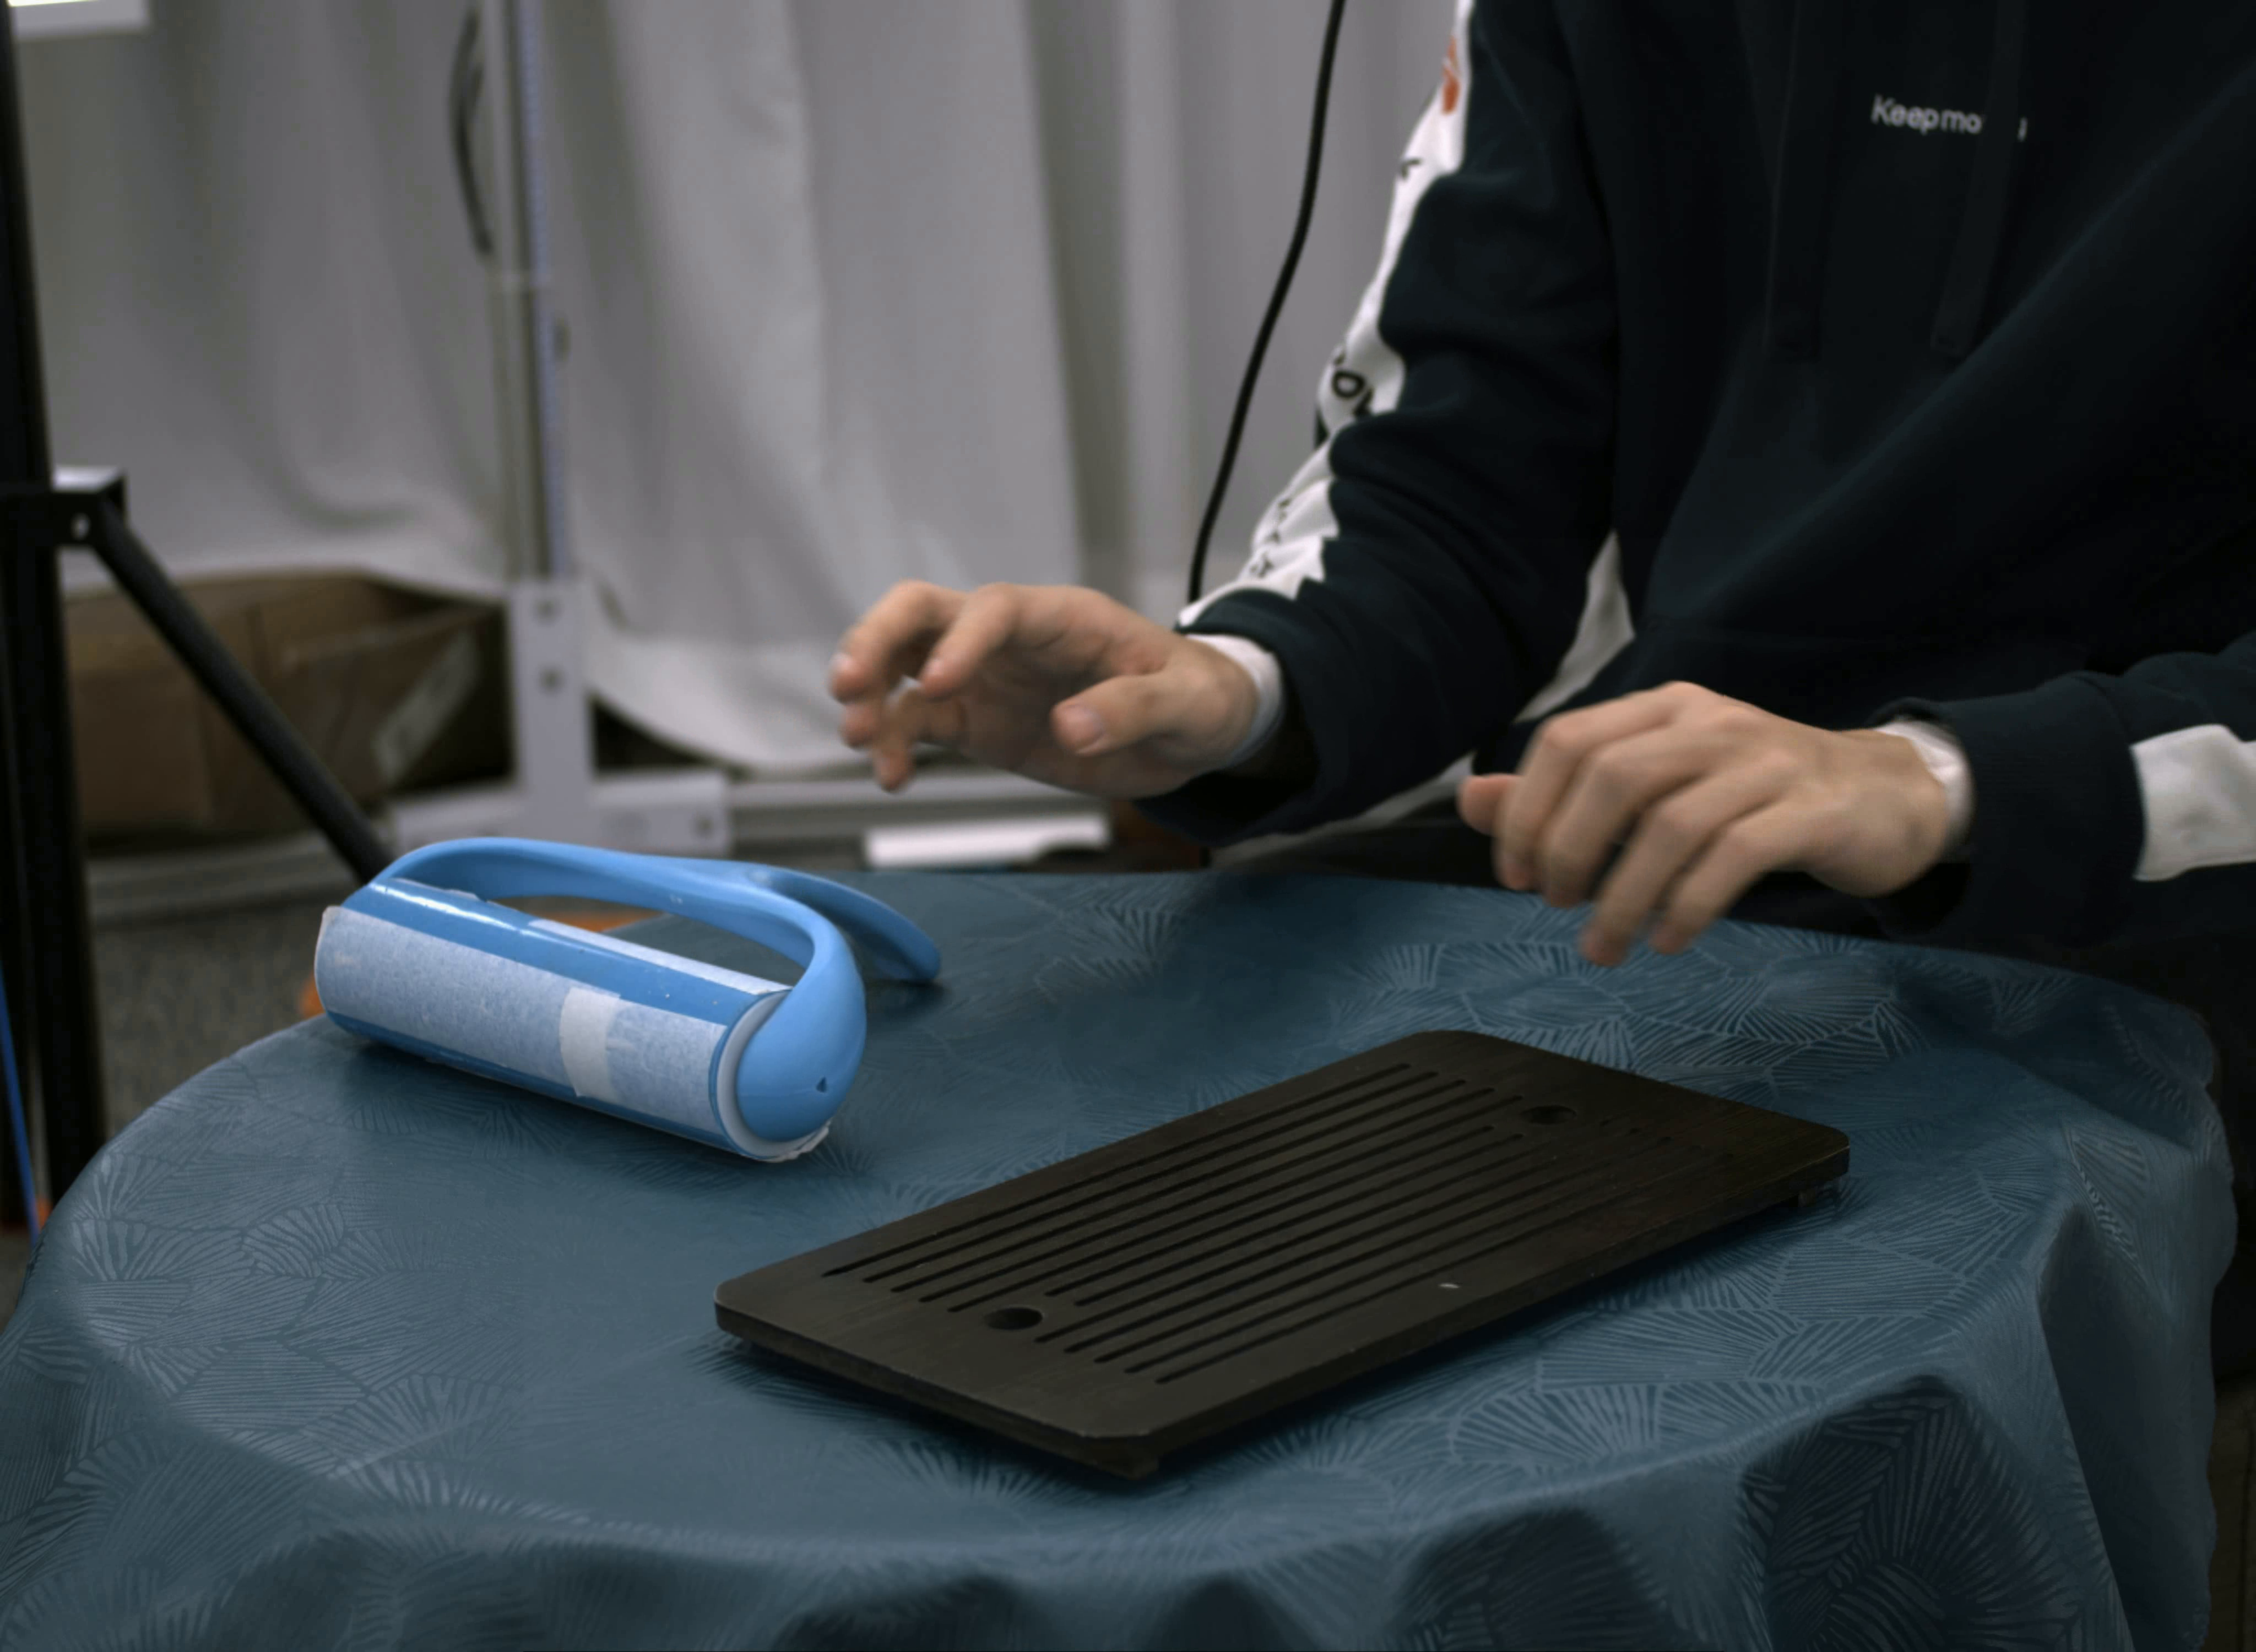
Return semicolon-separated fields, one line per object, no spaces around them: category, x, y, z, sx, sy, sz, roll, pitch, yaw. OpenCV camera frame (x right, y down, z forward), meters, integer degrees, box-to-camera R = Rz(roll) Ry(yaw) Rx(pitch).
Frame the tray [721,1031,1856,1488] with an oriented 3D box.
tray;0.050;0.117;1.484;0.299;0.018;0.174;-17;21;-40

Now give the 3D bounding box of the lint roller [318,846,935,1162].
lint roller;-0.133;0.044;1.702;0.234;0.068;0.176;9;21;42
